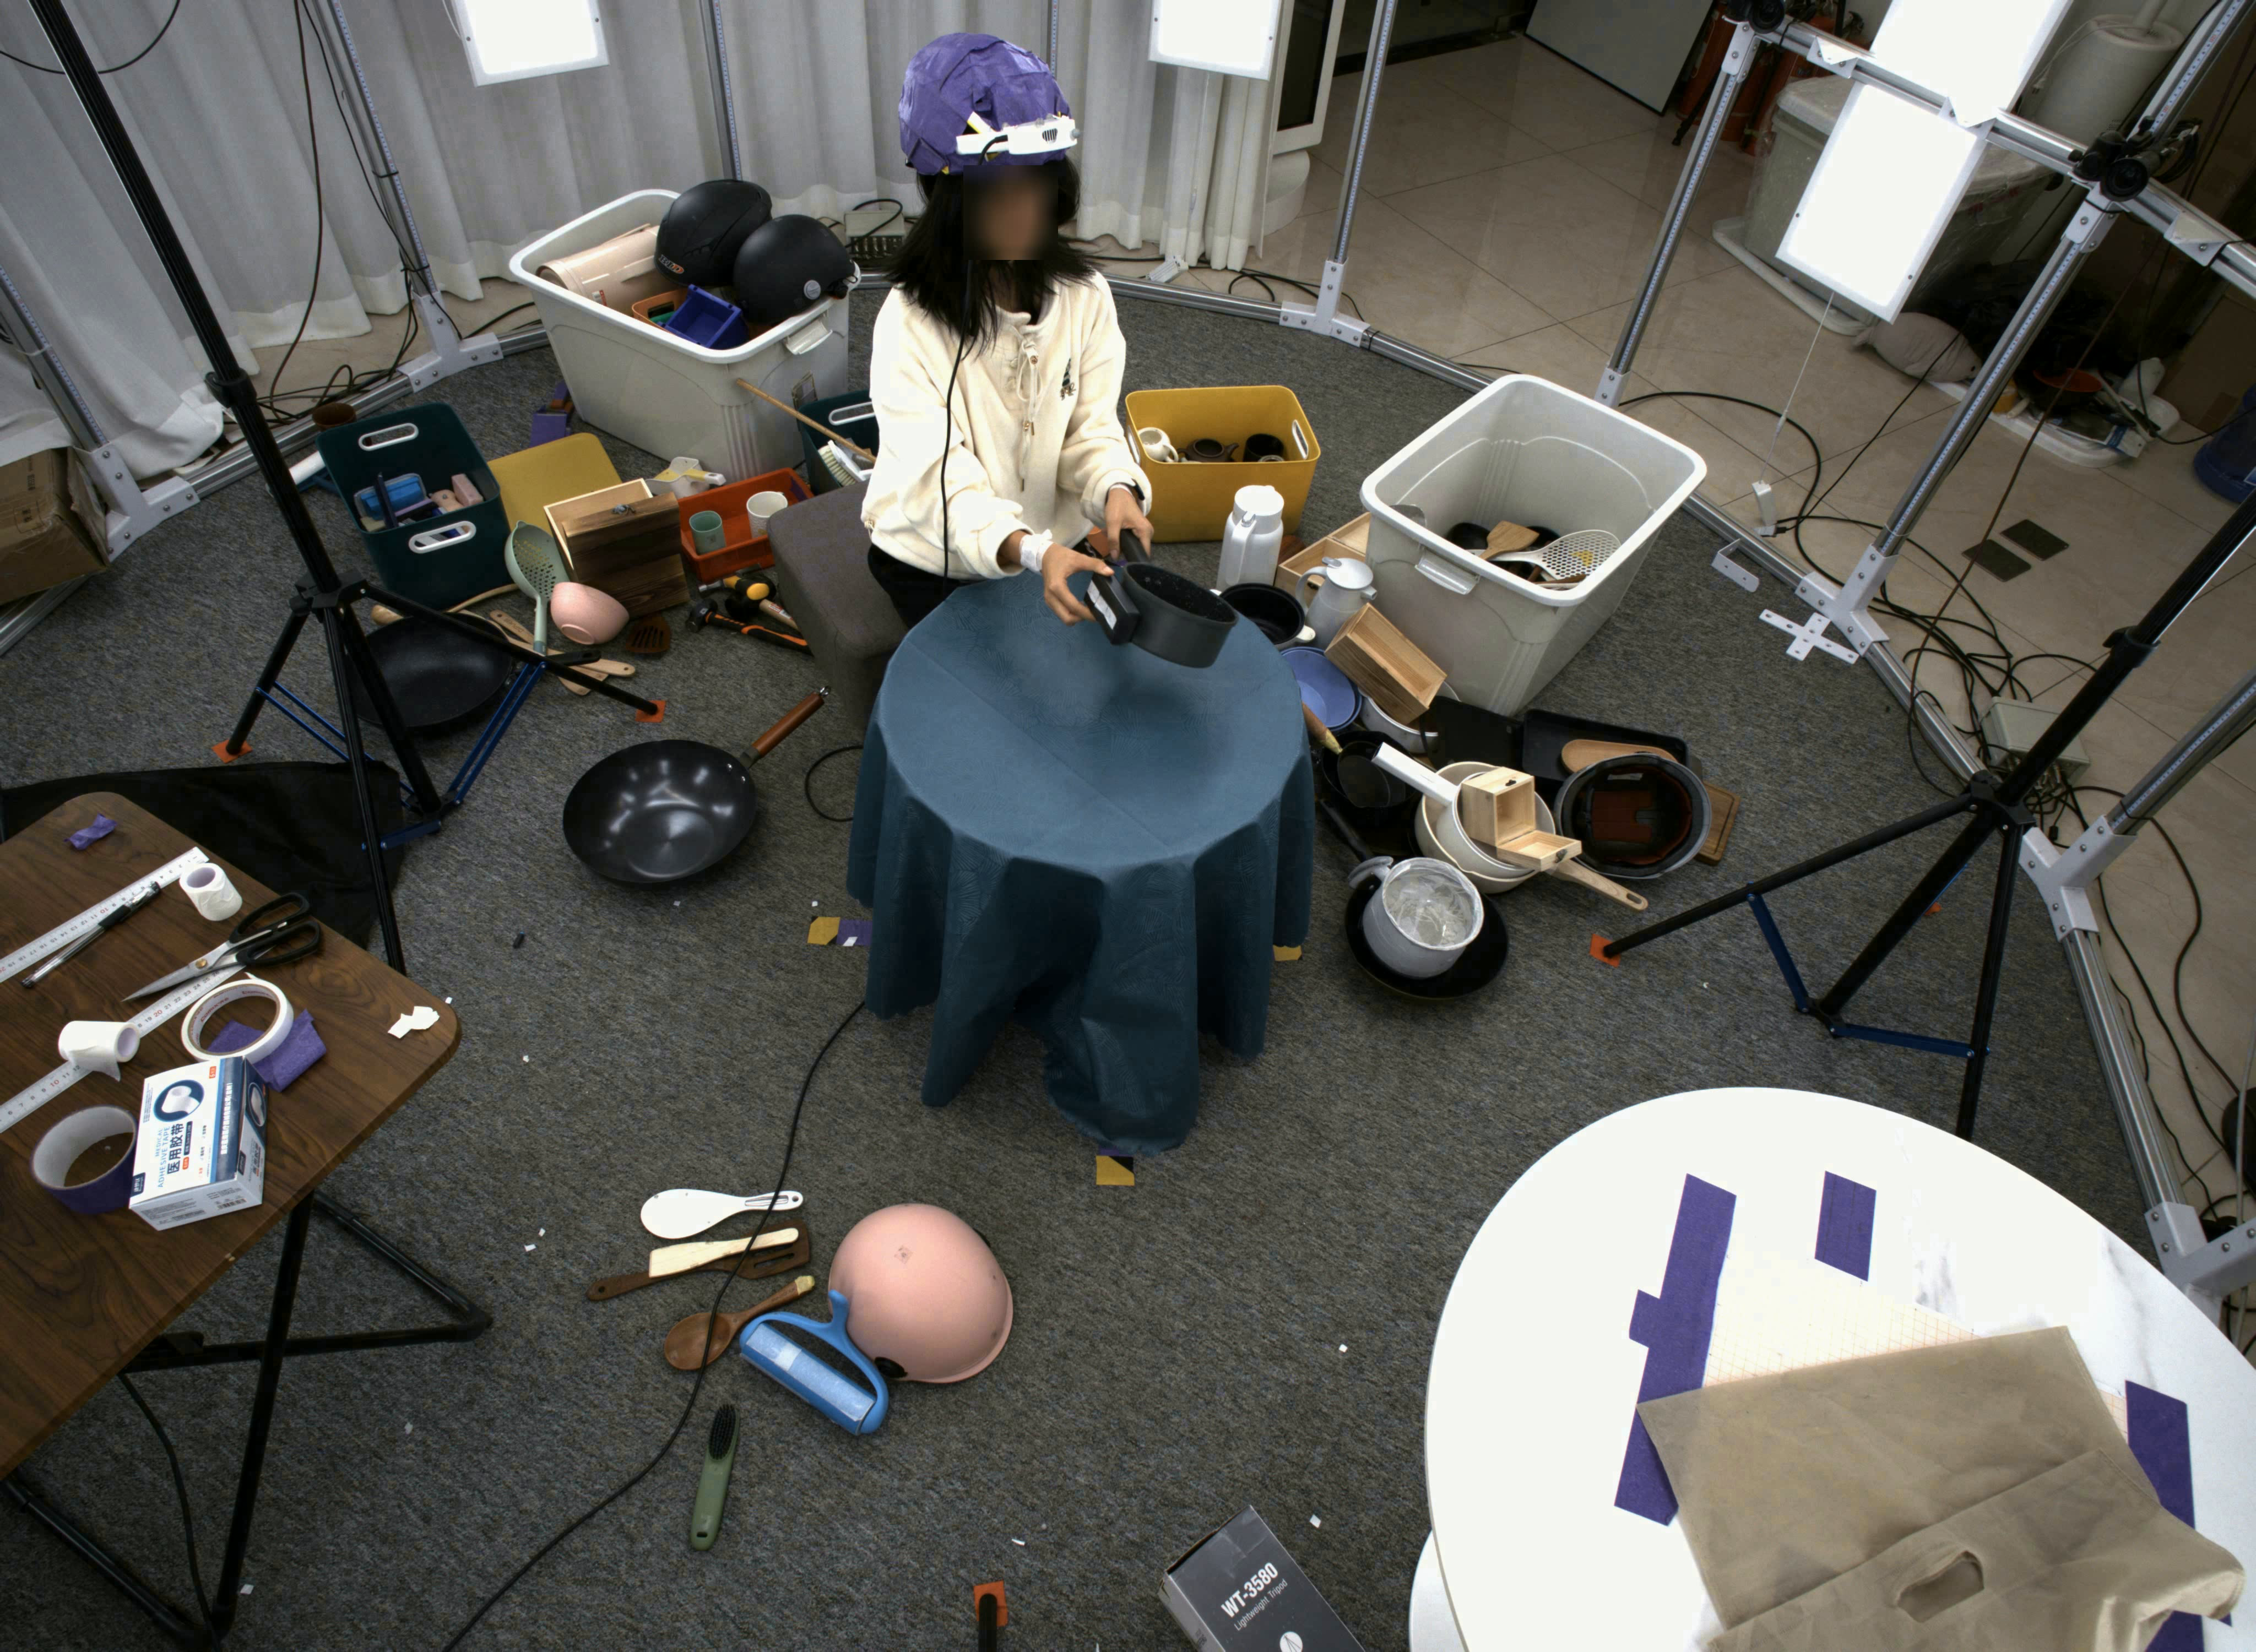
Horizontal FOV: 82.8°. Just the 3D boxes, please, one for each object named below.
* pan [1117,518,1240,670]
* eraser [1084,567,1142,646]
[{"bbox_3d":[0.034,-0.331,1.806,0.170,0.085,0.336,12,29,-29],"label":"pan"},{"bbox_3d":[-0.021,-0.289,1.690,0.030,0.052,0.128,10,31,-27],"label":"eraser"}]
